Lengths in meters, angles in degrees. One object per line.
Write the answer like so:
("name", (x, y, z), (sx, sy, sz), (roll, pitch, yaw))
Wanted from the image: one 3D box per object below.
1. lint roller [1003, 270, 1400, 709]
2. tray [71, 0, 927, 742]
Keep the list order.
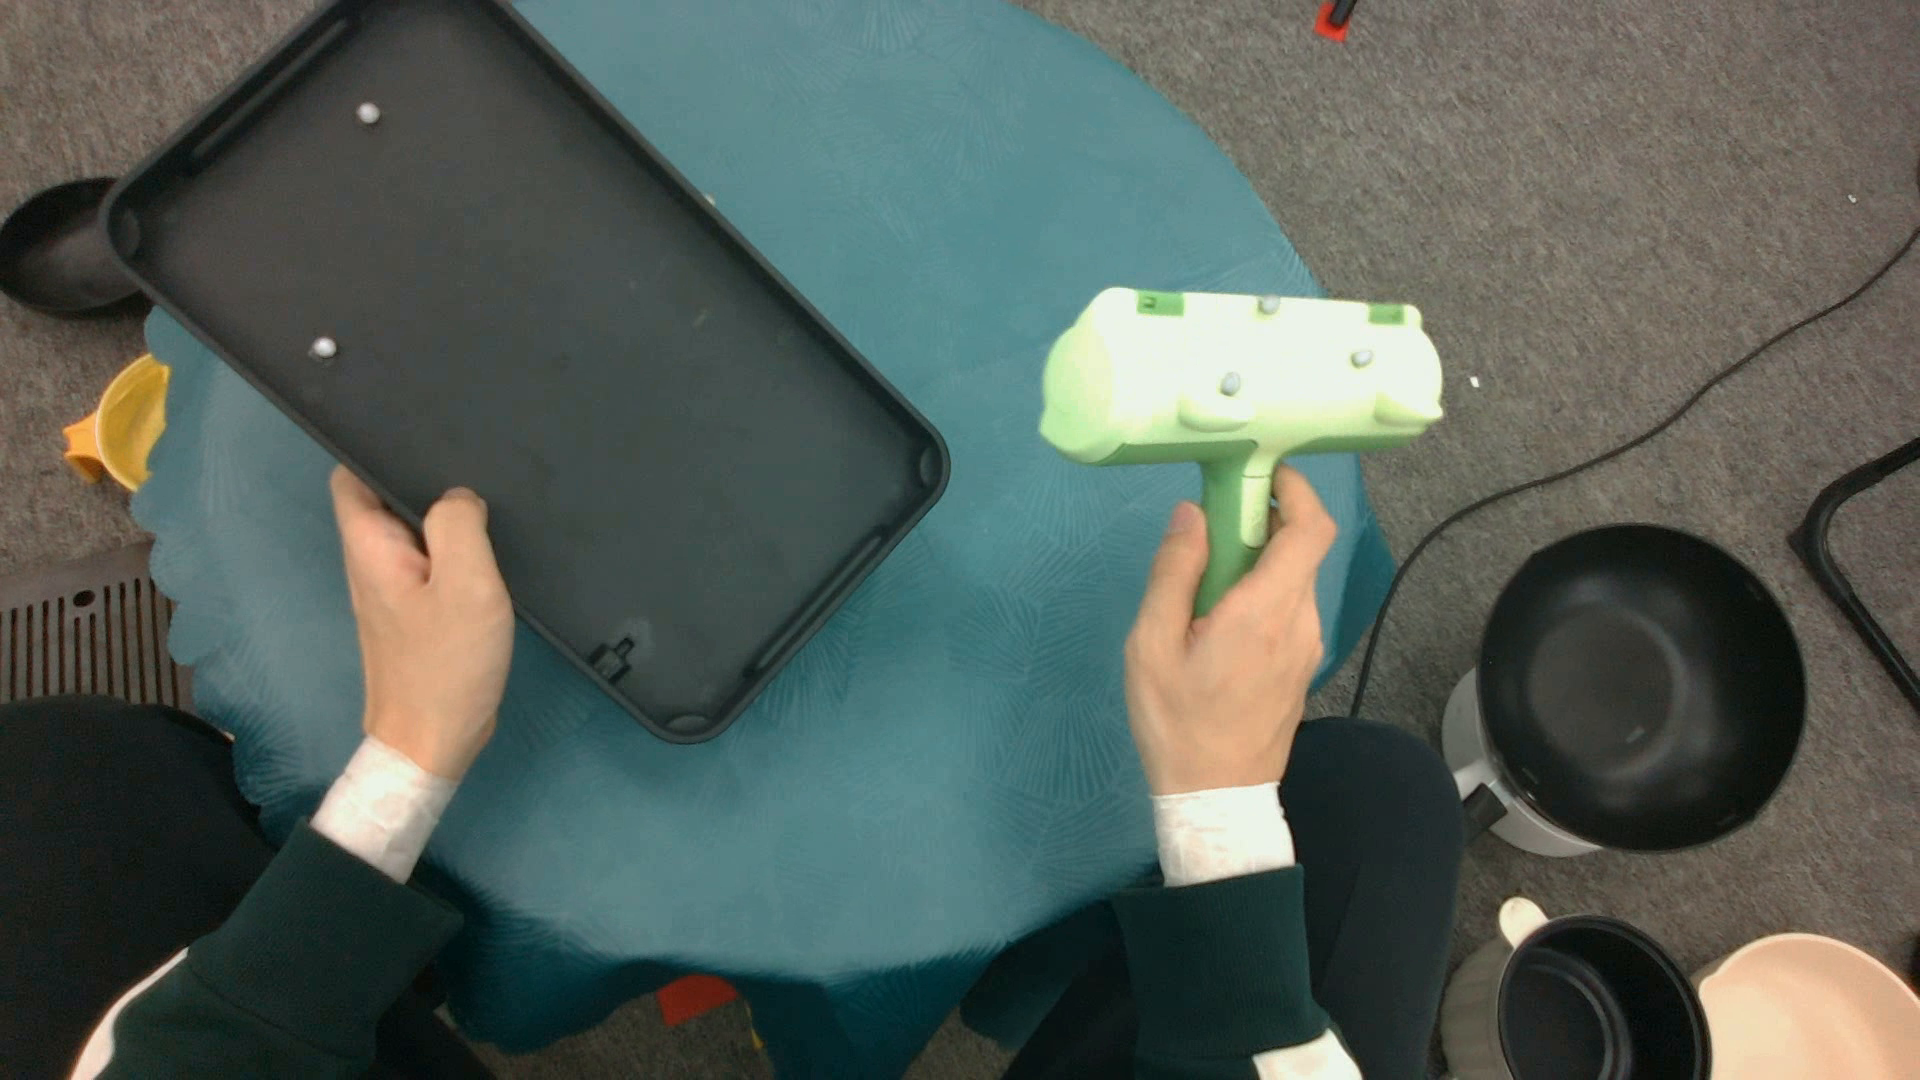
("lint roller", (0.111, -0.017, 0.562), (0.199, 0.082, 0.183), (-8, 97, -39))
("tray", (-0.180, -0.079, 0.587), (0.318, 0.037, 0.184), (44, 77, -13))
